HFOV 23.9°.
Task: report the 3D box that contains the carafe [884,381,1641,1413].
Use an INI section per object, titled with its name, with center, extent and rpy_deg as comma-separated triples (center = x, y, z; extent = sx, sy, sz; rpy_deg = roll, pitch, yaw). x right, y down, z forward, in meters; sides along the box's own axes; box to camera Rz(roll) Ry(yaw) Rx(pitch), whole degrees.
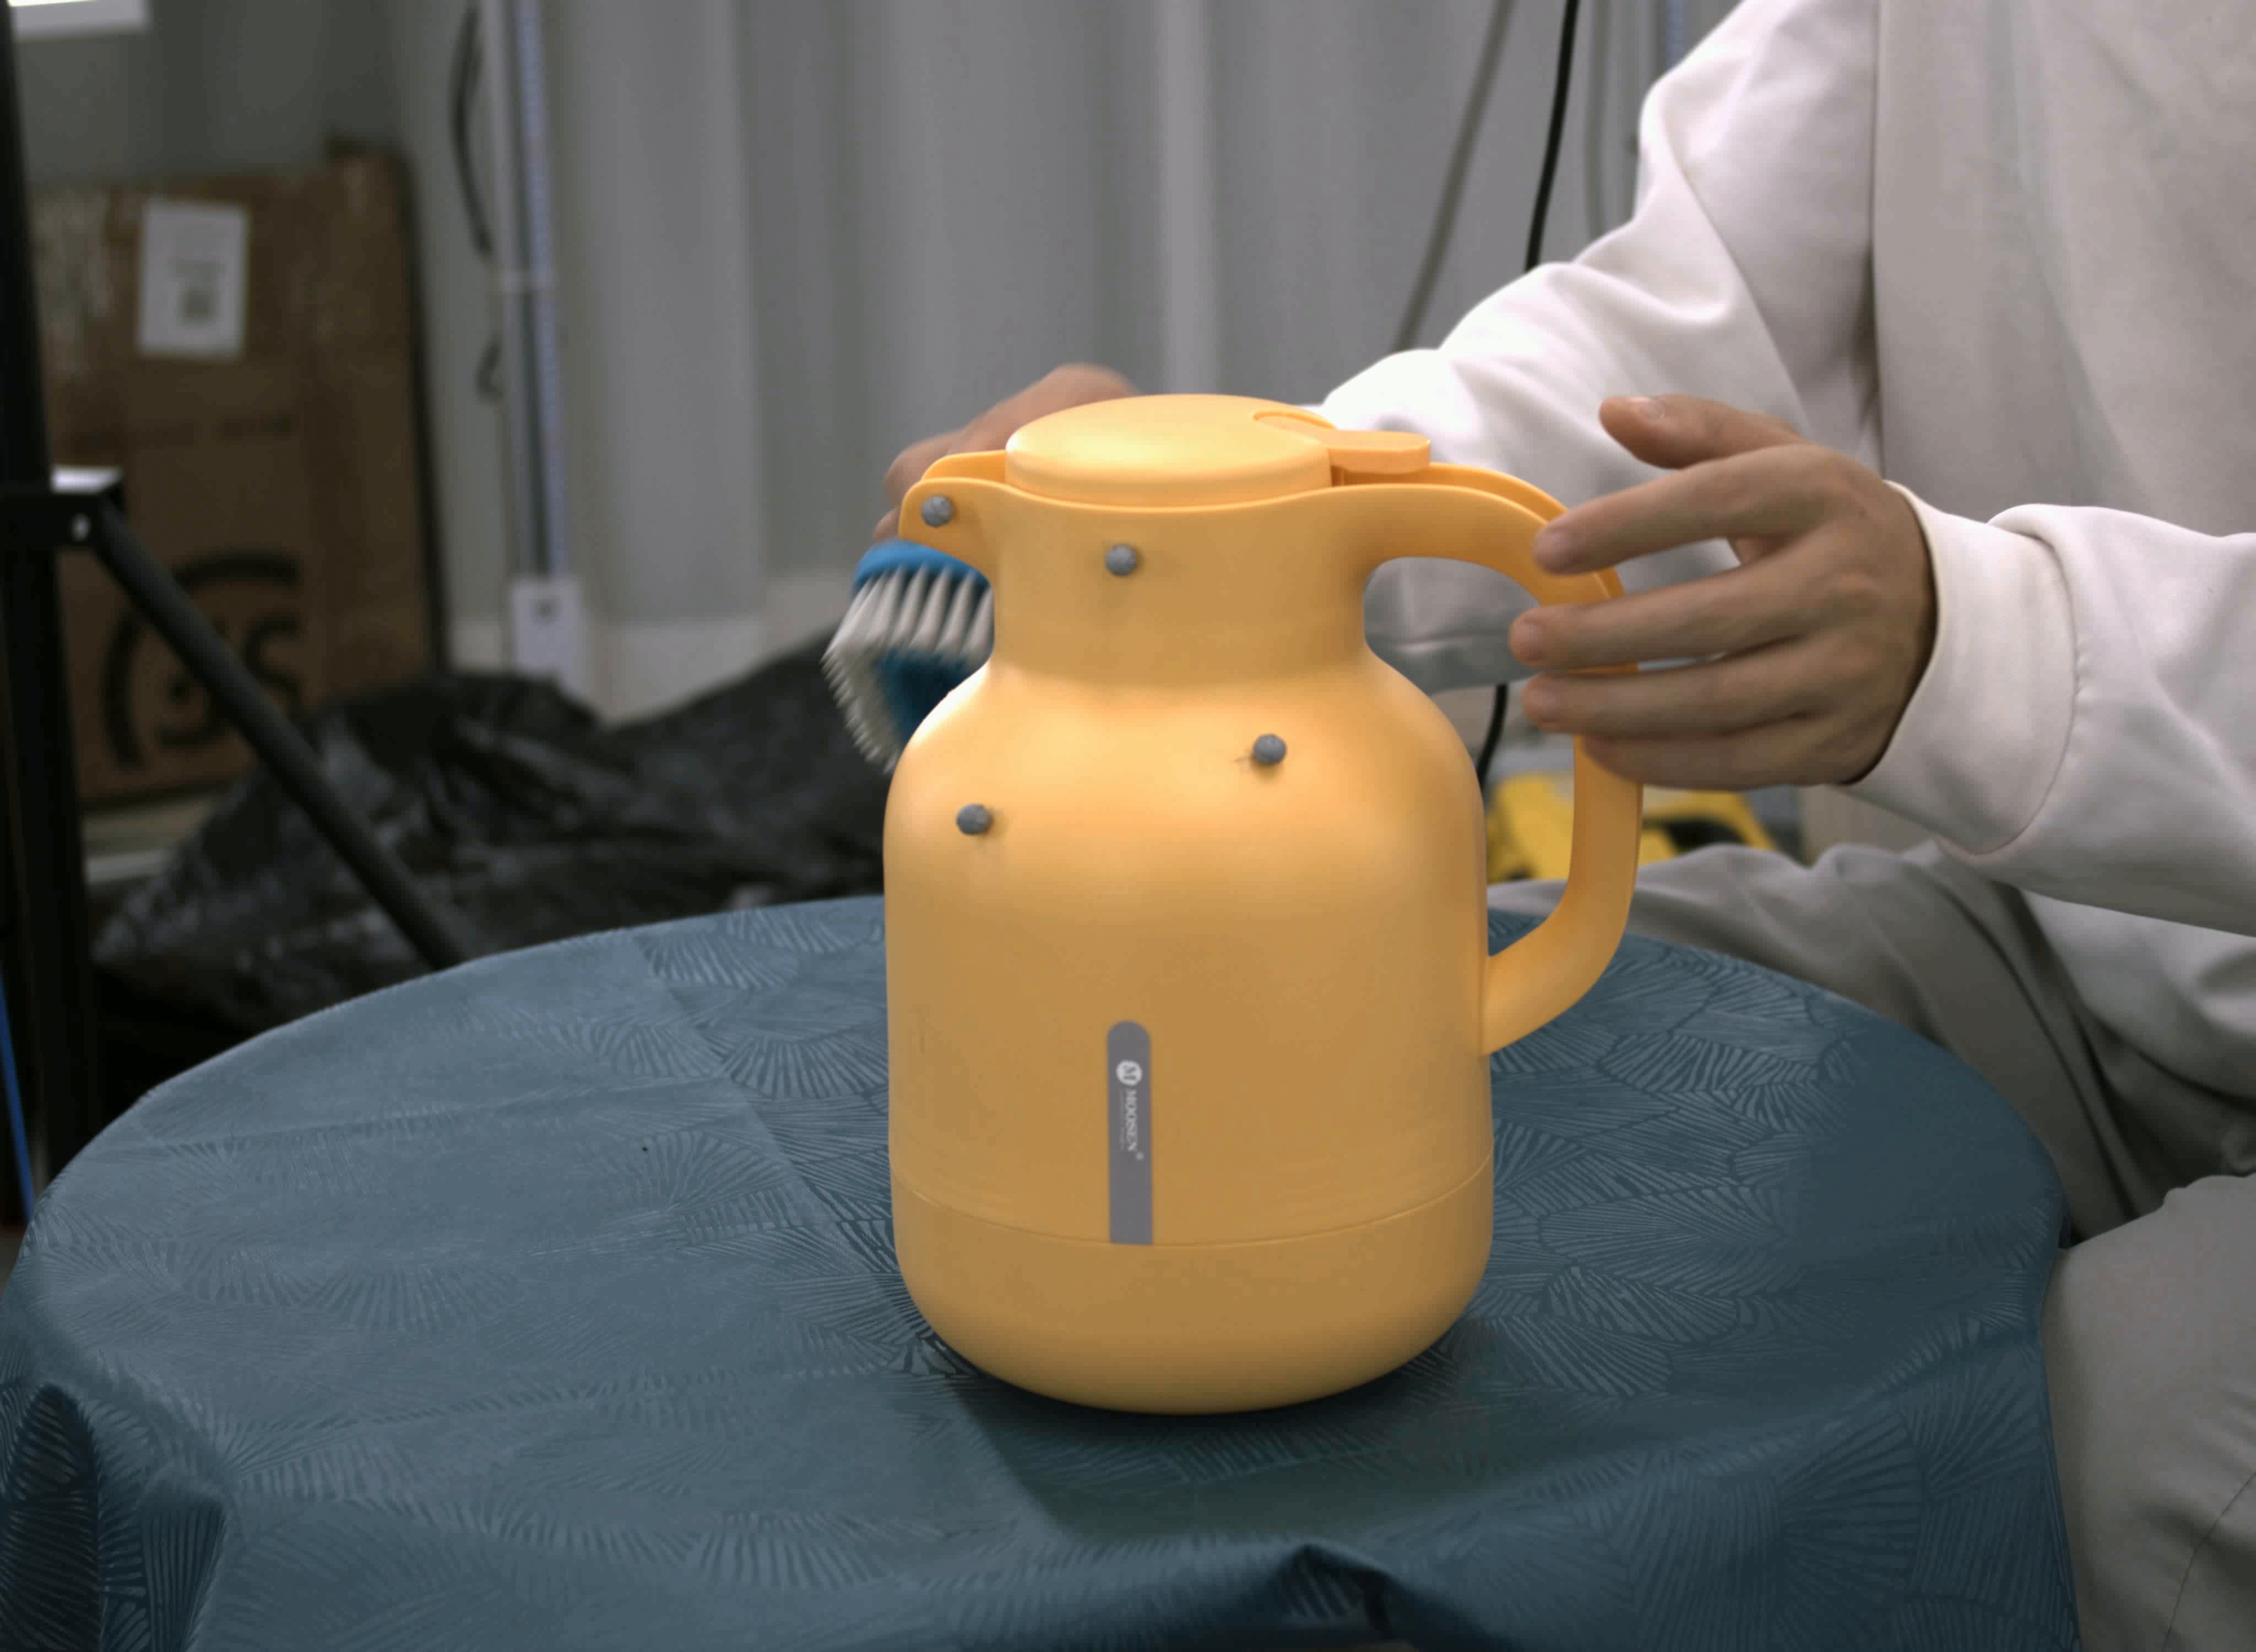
[carafe]
center = 0.035, 0.016, 1.404
extent = 0.203, 0.260, 0.162
rpy_deg = 0, 18, 13

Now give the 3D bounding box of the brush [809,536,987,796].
[brush]
center = -0.043, -0.053, 1.594
extent = 0.085, 0.064, 0.140
rpy_deg = 6, -19, 11
